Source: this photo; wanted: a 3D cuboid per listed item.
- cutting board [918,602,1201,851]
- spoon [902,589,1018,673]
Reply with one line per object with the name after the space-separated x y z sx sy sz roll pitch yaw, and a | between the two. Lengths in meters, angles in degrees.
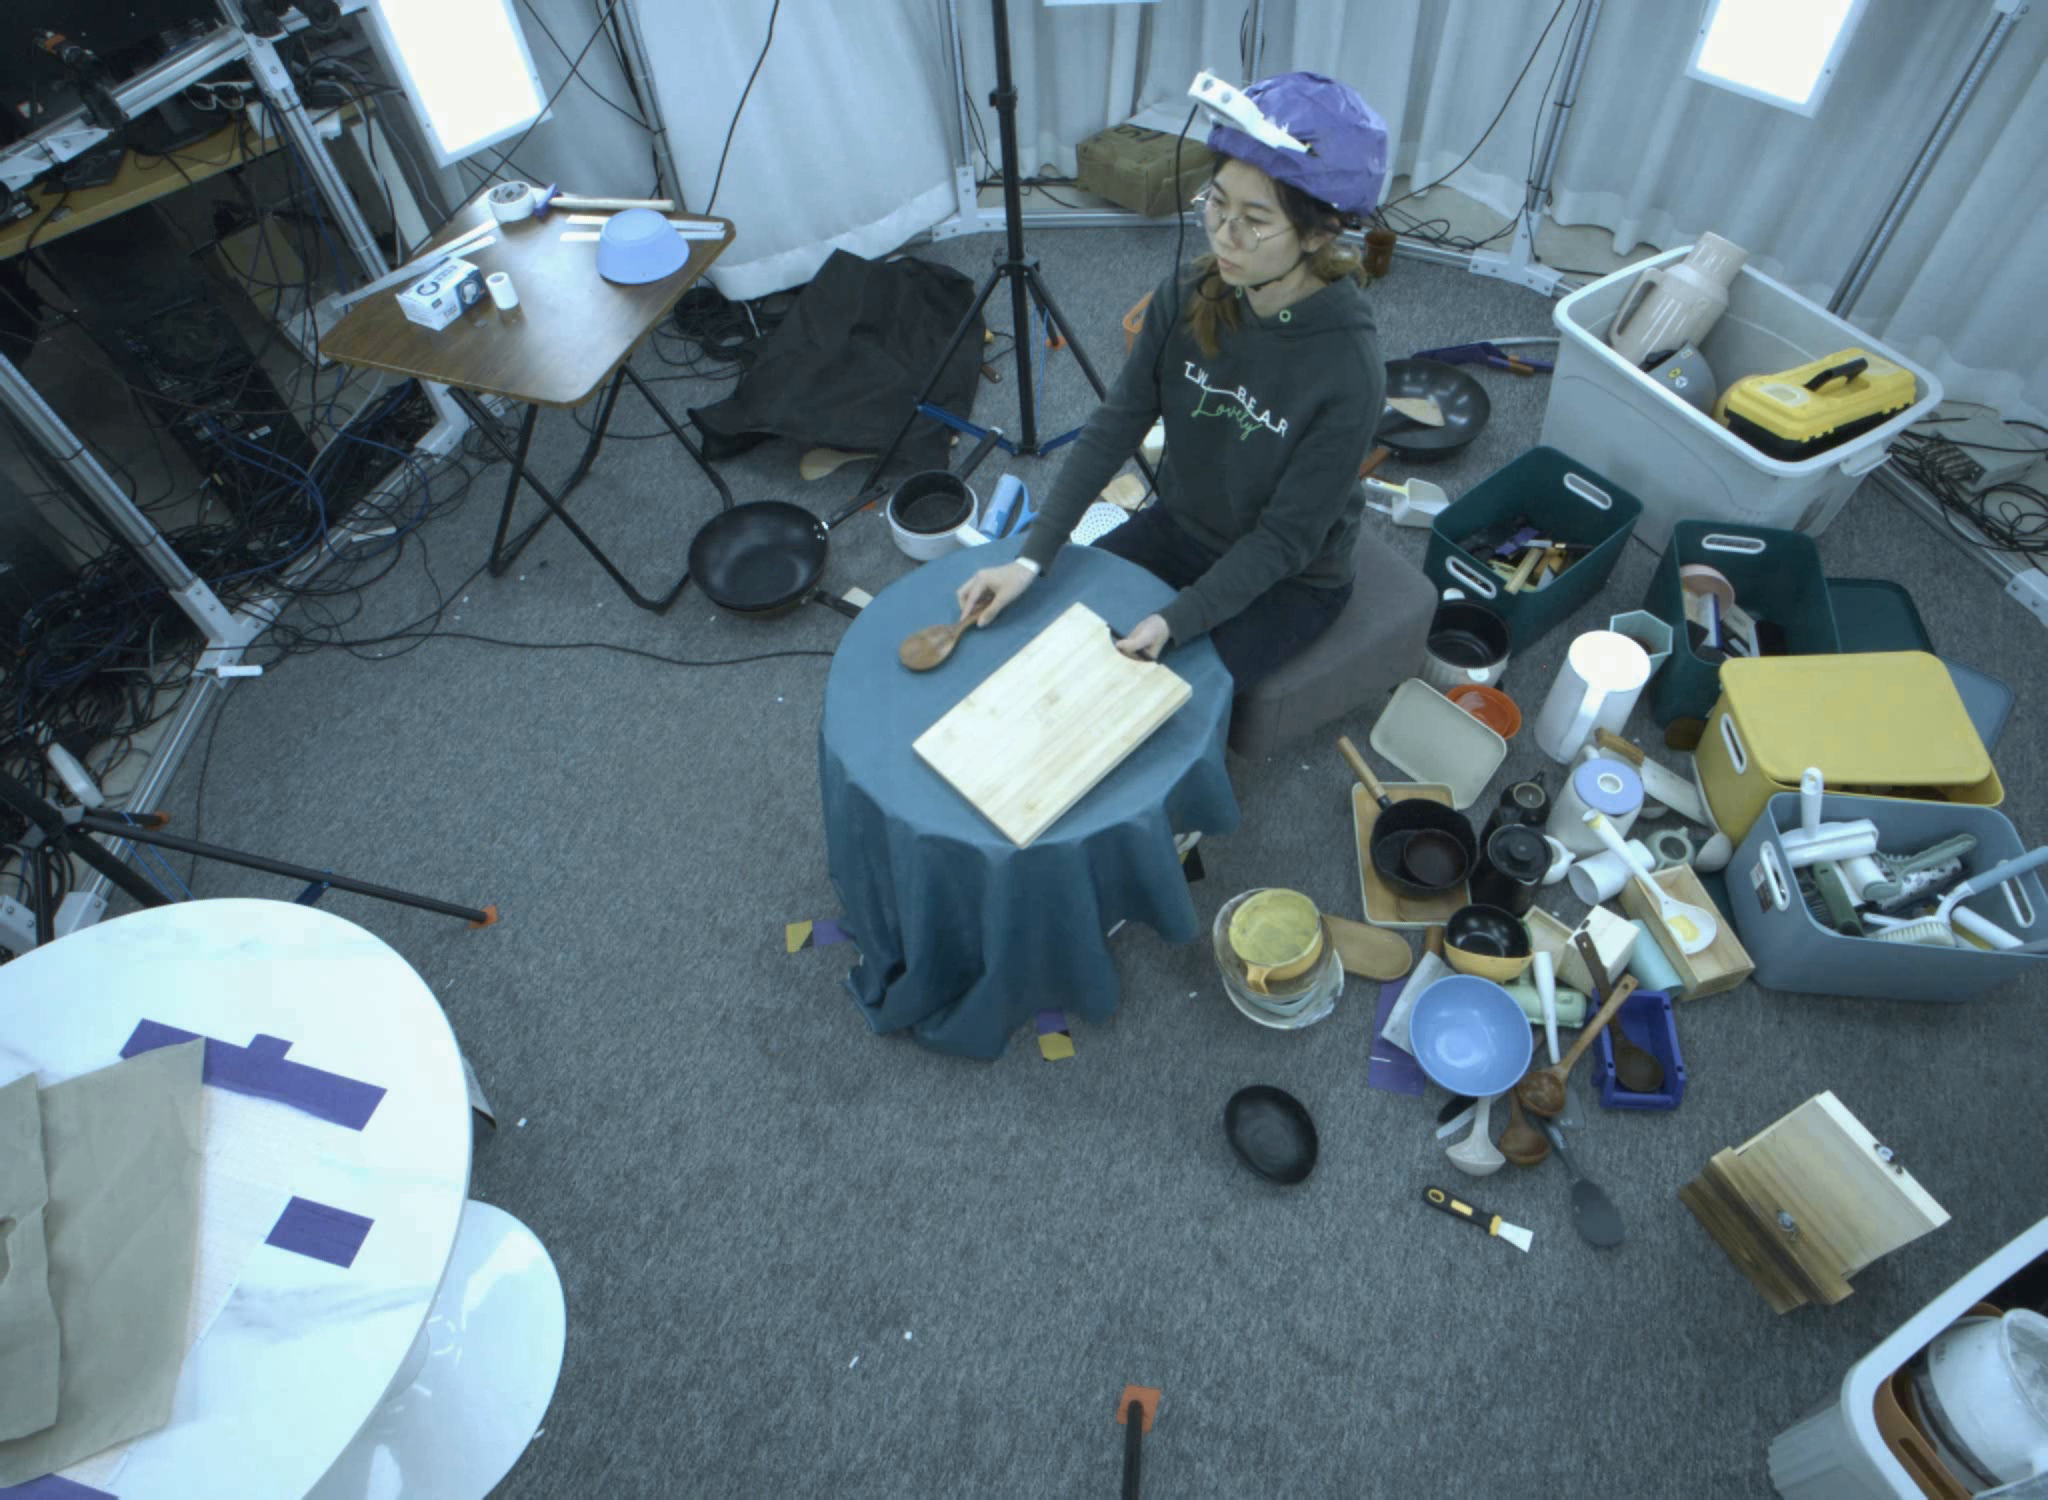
0.048 -0.043 1.786 0.350 0.024 0.246 -43 64 -15 | cutting board
-0.098 -0.187 1.915 0.217 0.017 0.074 -37 60 -16 | spoon
